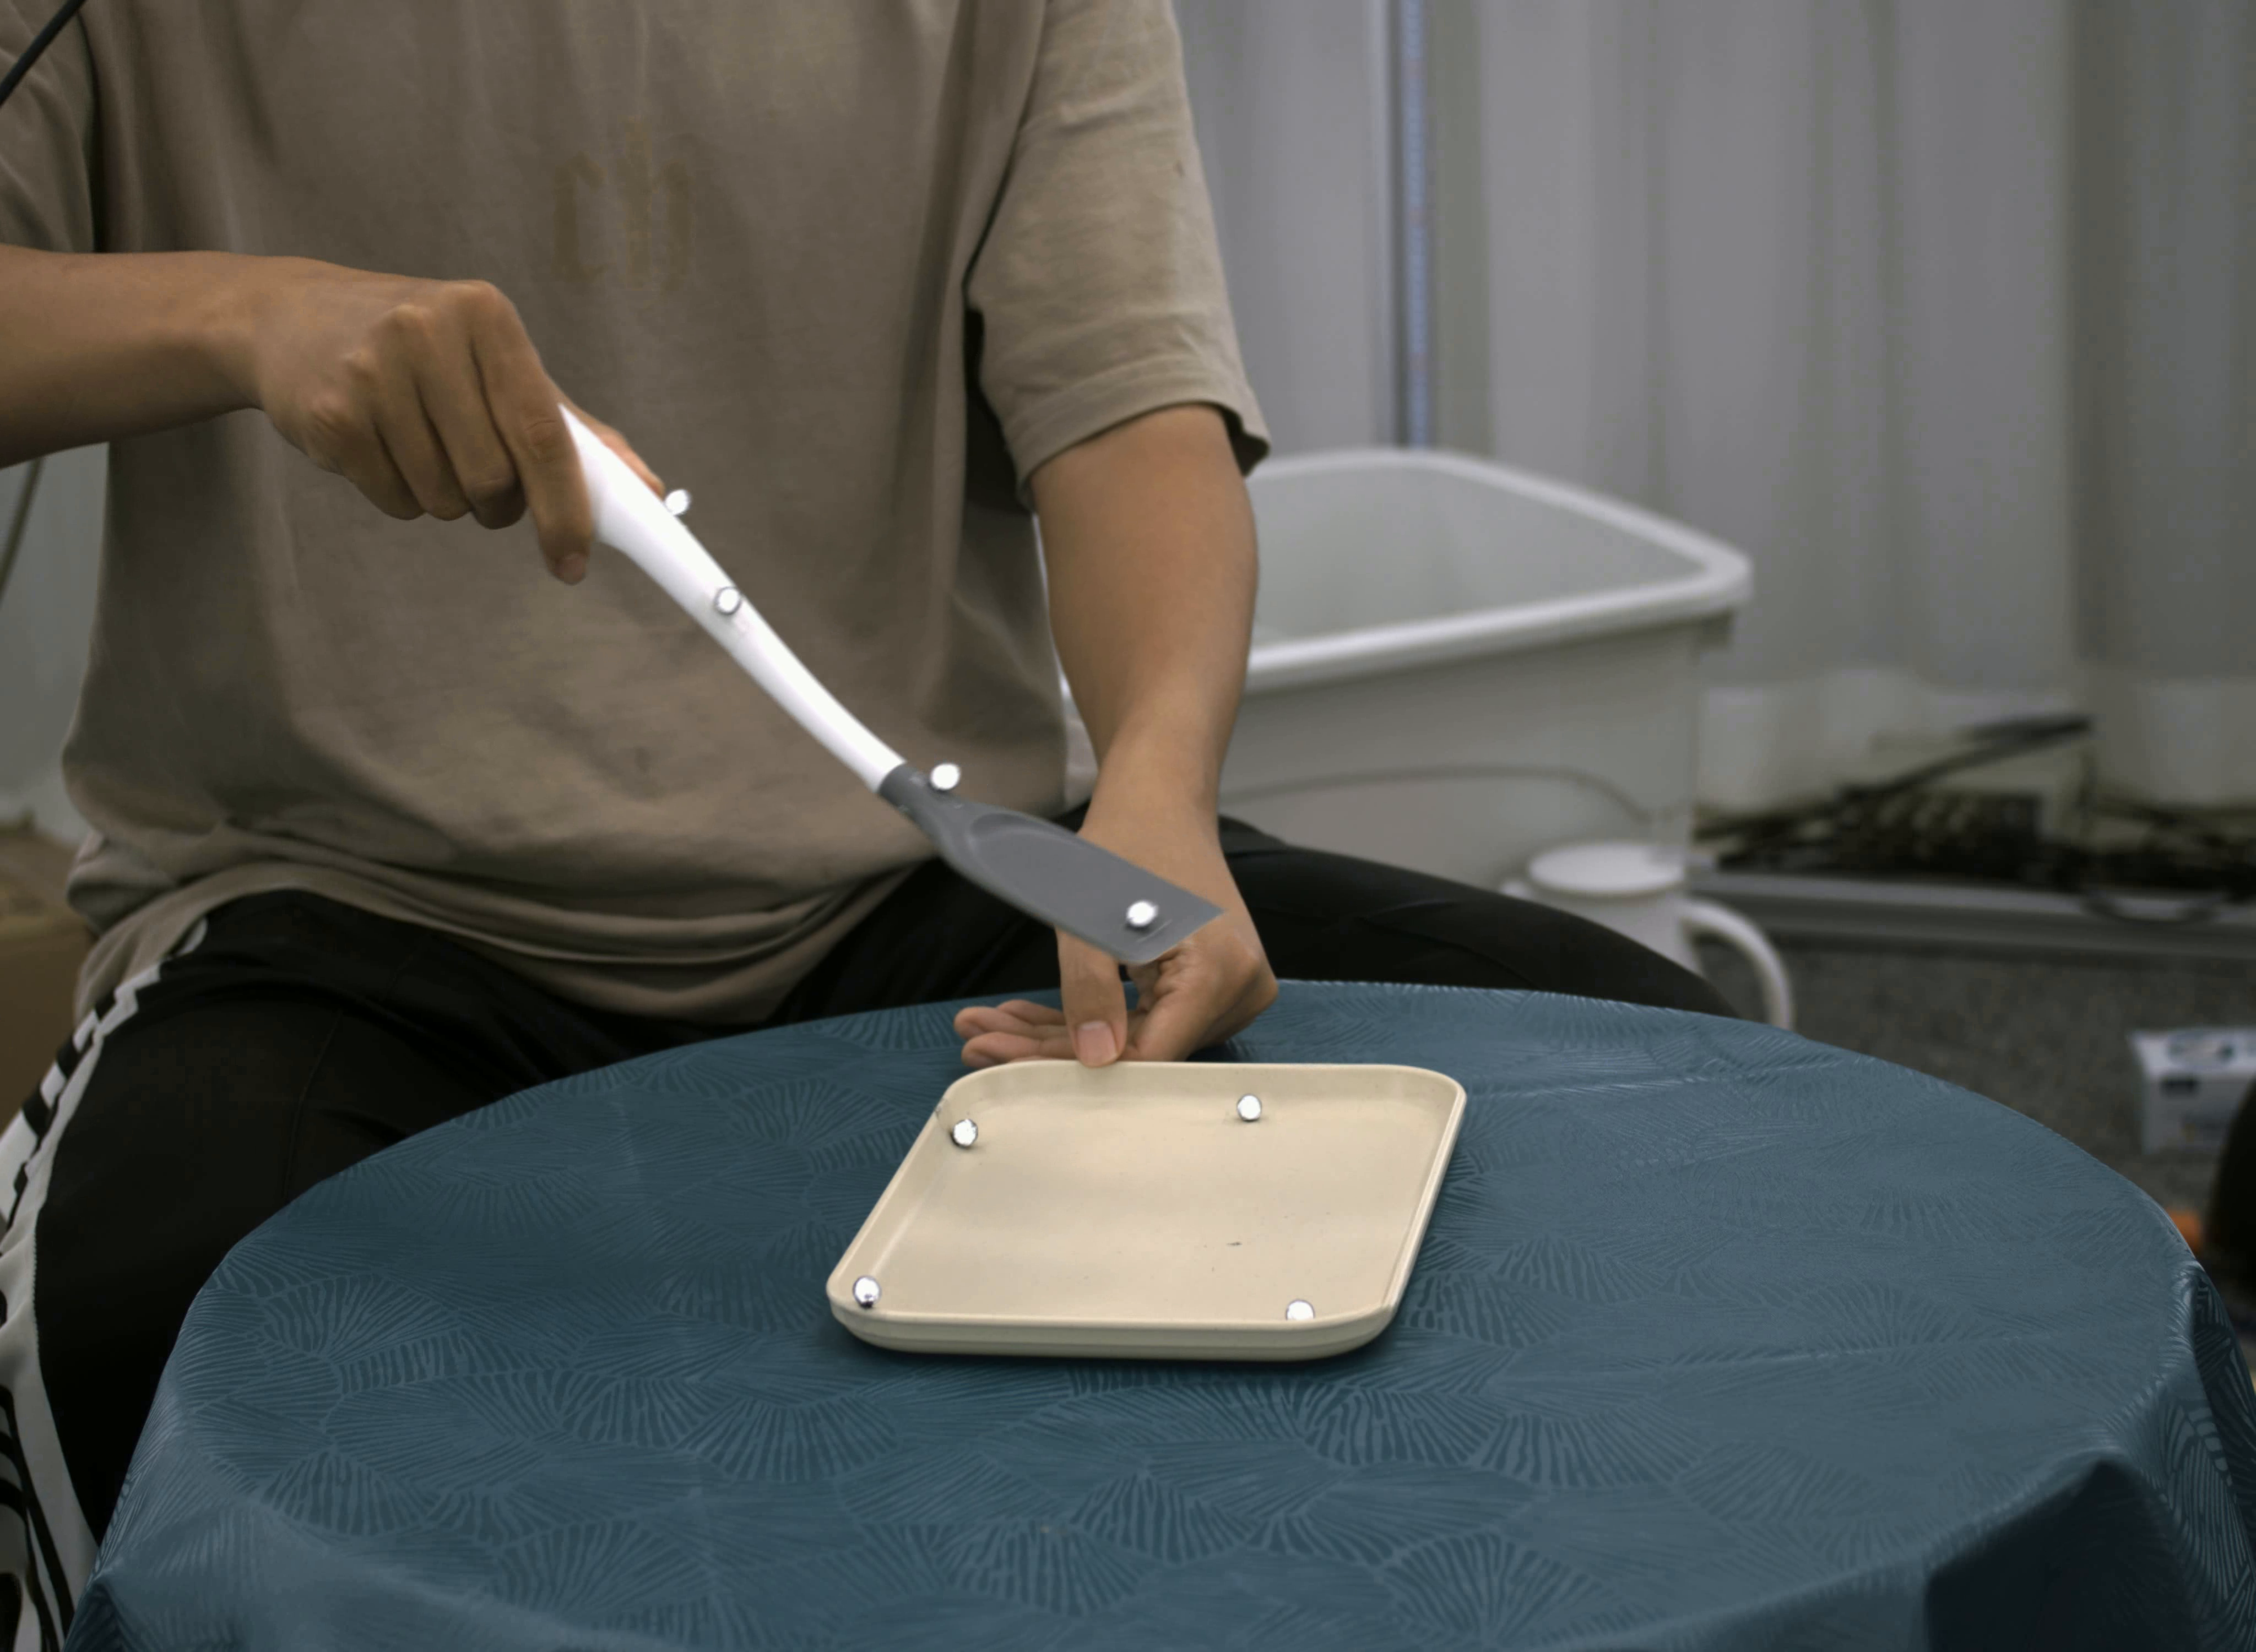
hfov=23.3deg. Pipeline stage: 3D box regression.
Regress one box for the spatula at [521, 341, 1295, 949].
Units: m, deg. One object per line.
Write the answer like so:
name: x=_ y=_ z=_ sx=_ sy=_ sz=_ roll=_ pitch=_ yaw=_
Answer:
spatula: x=-0.070 y=-0.051 z=1.671 sx=0.289 sy=0.032 sz=0.059 roll=39 pitch=28 yaw=15

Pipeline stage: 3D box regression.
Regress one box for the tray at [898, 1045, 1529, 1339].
tray: x=0.030 y=0.111 z=1.672 sx=0.171 sy=0.017 sz=0.241 roll=1 pitch=15 yaw=10
